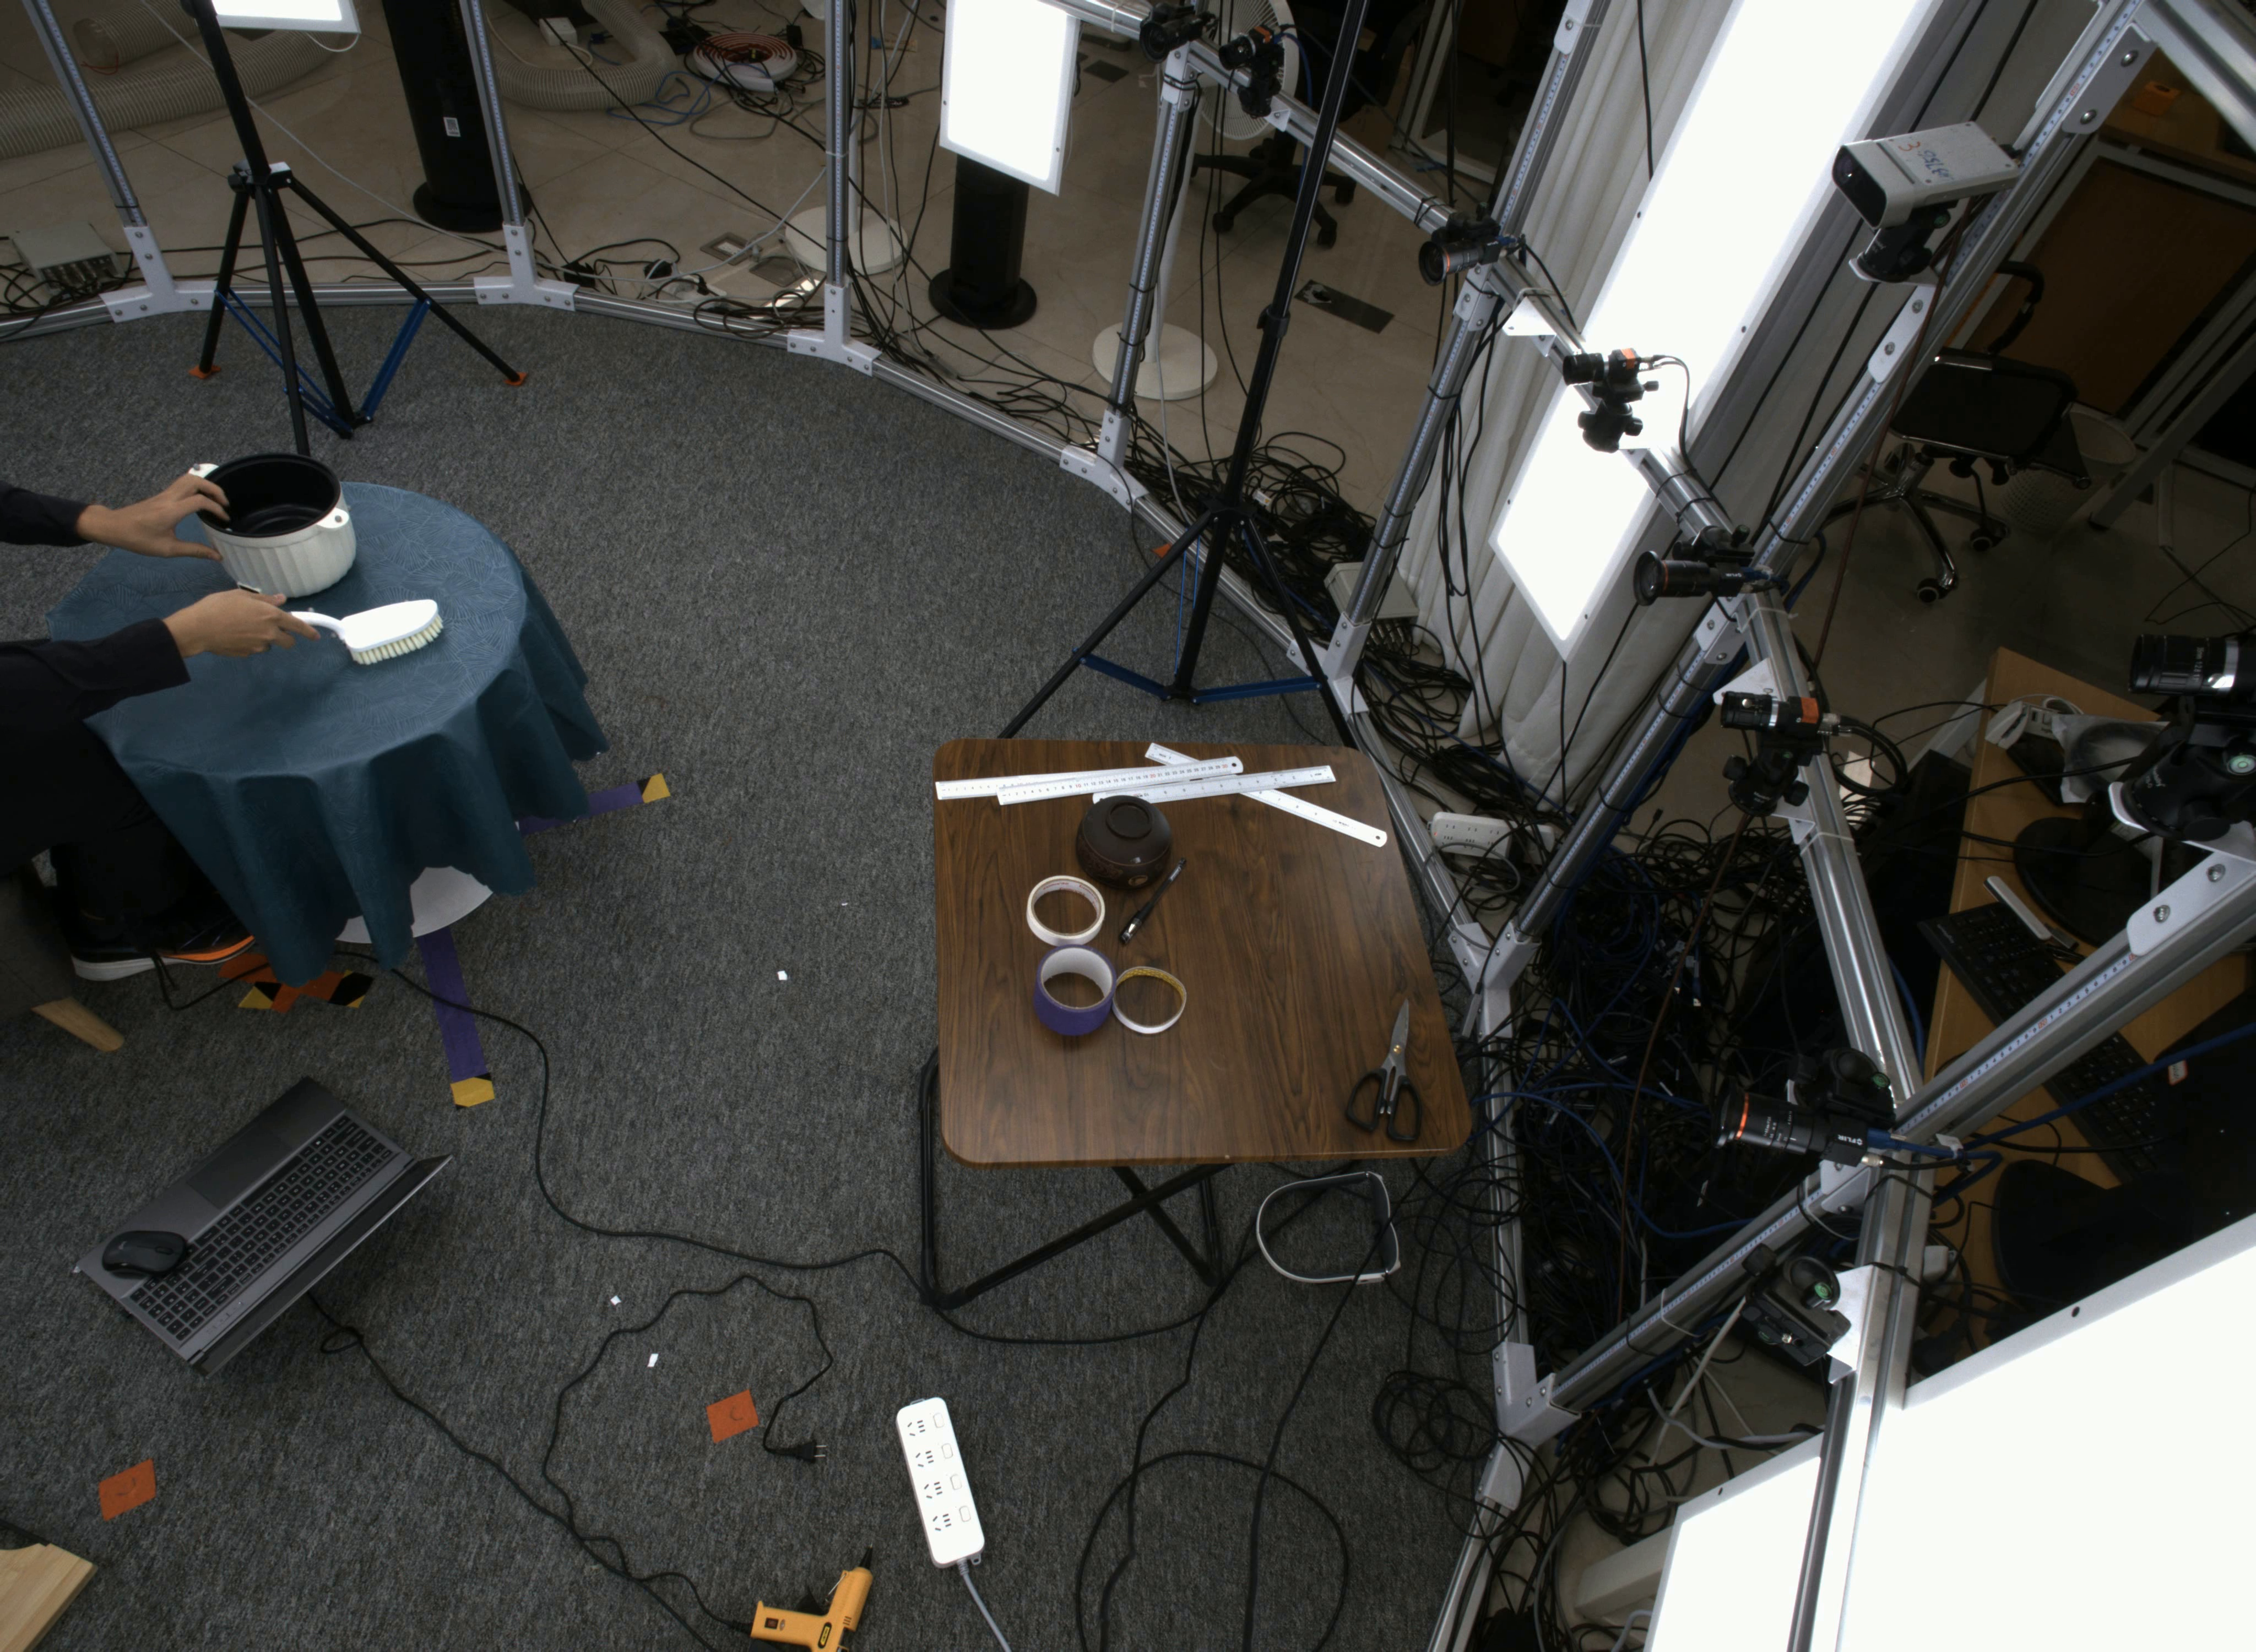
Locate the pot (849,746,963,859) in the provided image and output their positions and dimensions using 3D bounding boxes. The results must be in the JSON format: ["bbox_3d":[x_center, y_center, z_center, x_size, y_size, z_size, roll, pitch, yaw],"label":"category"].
[{"bbox_3d":[-0.362,-0.036,2.141,0.192,0.147,0.231,-18,35,-39],"label":"pot"}]

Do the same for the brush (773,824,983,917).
[{"bbox_3d":[-0.377,0.078,1.958,0.326,0.084,0.083,15,-14,-12],"label":"brush"}]
